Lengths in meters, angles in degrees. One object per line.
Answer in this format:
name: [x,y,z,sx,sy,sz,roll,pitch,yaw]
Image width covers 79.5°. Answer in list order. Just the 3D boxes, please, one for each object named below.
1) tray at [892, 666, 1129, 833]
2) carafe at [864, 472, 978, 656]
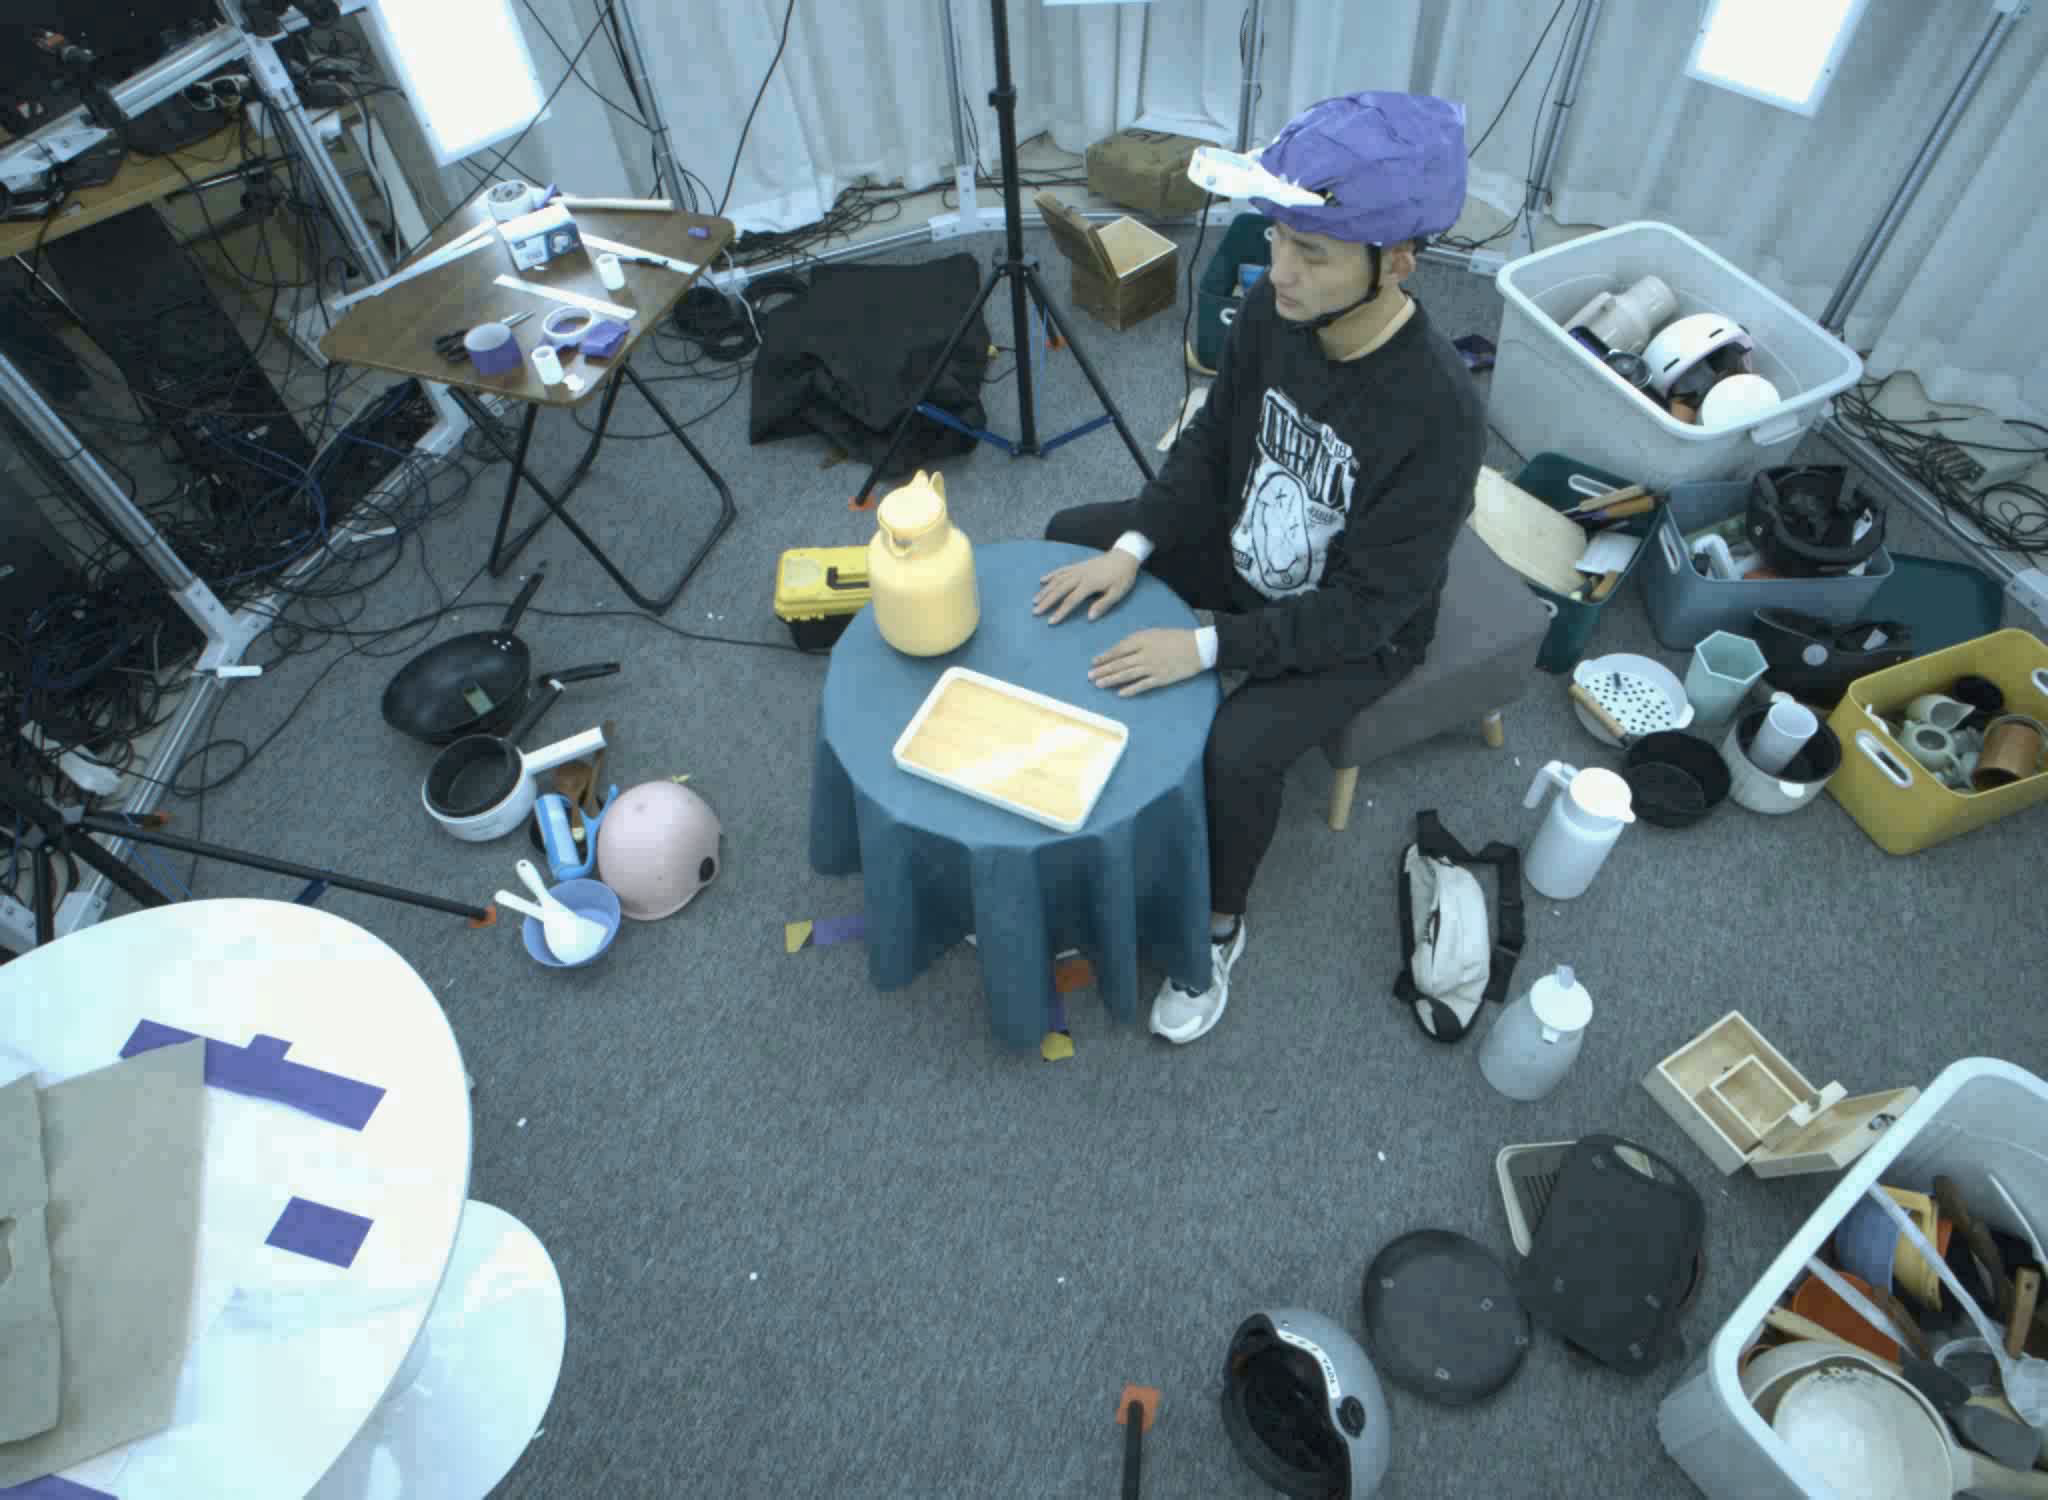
tray: [-0.019,-0.005,1.771,0.297,0.028,0.192,21,58,16]
carafe: [-0.151,-0.286,1.833,0.162,0.263,0.201,10,56,8]
